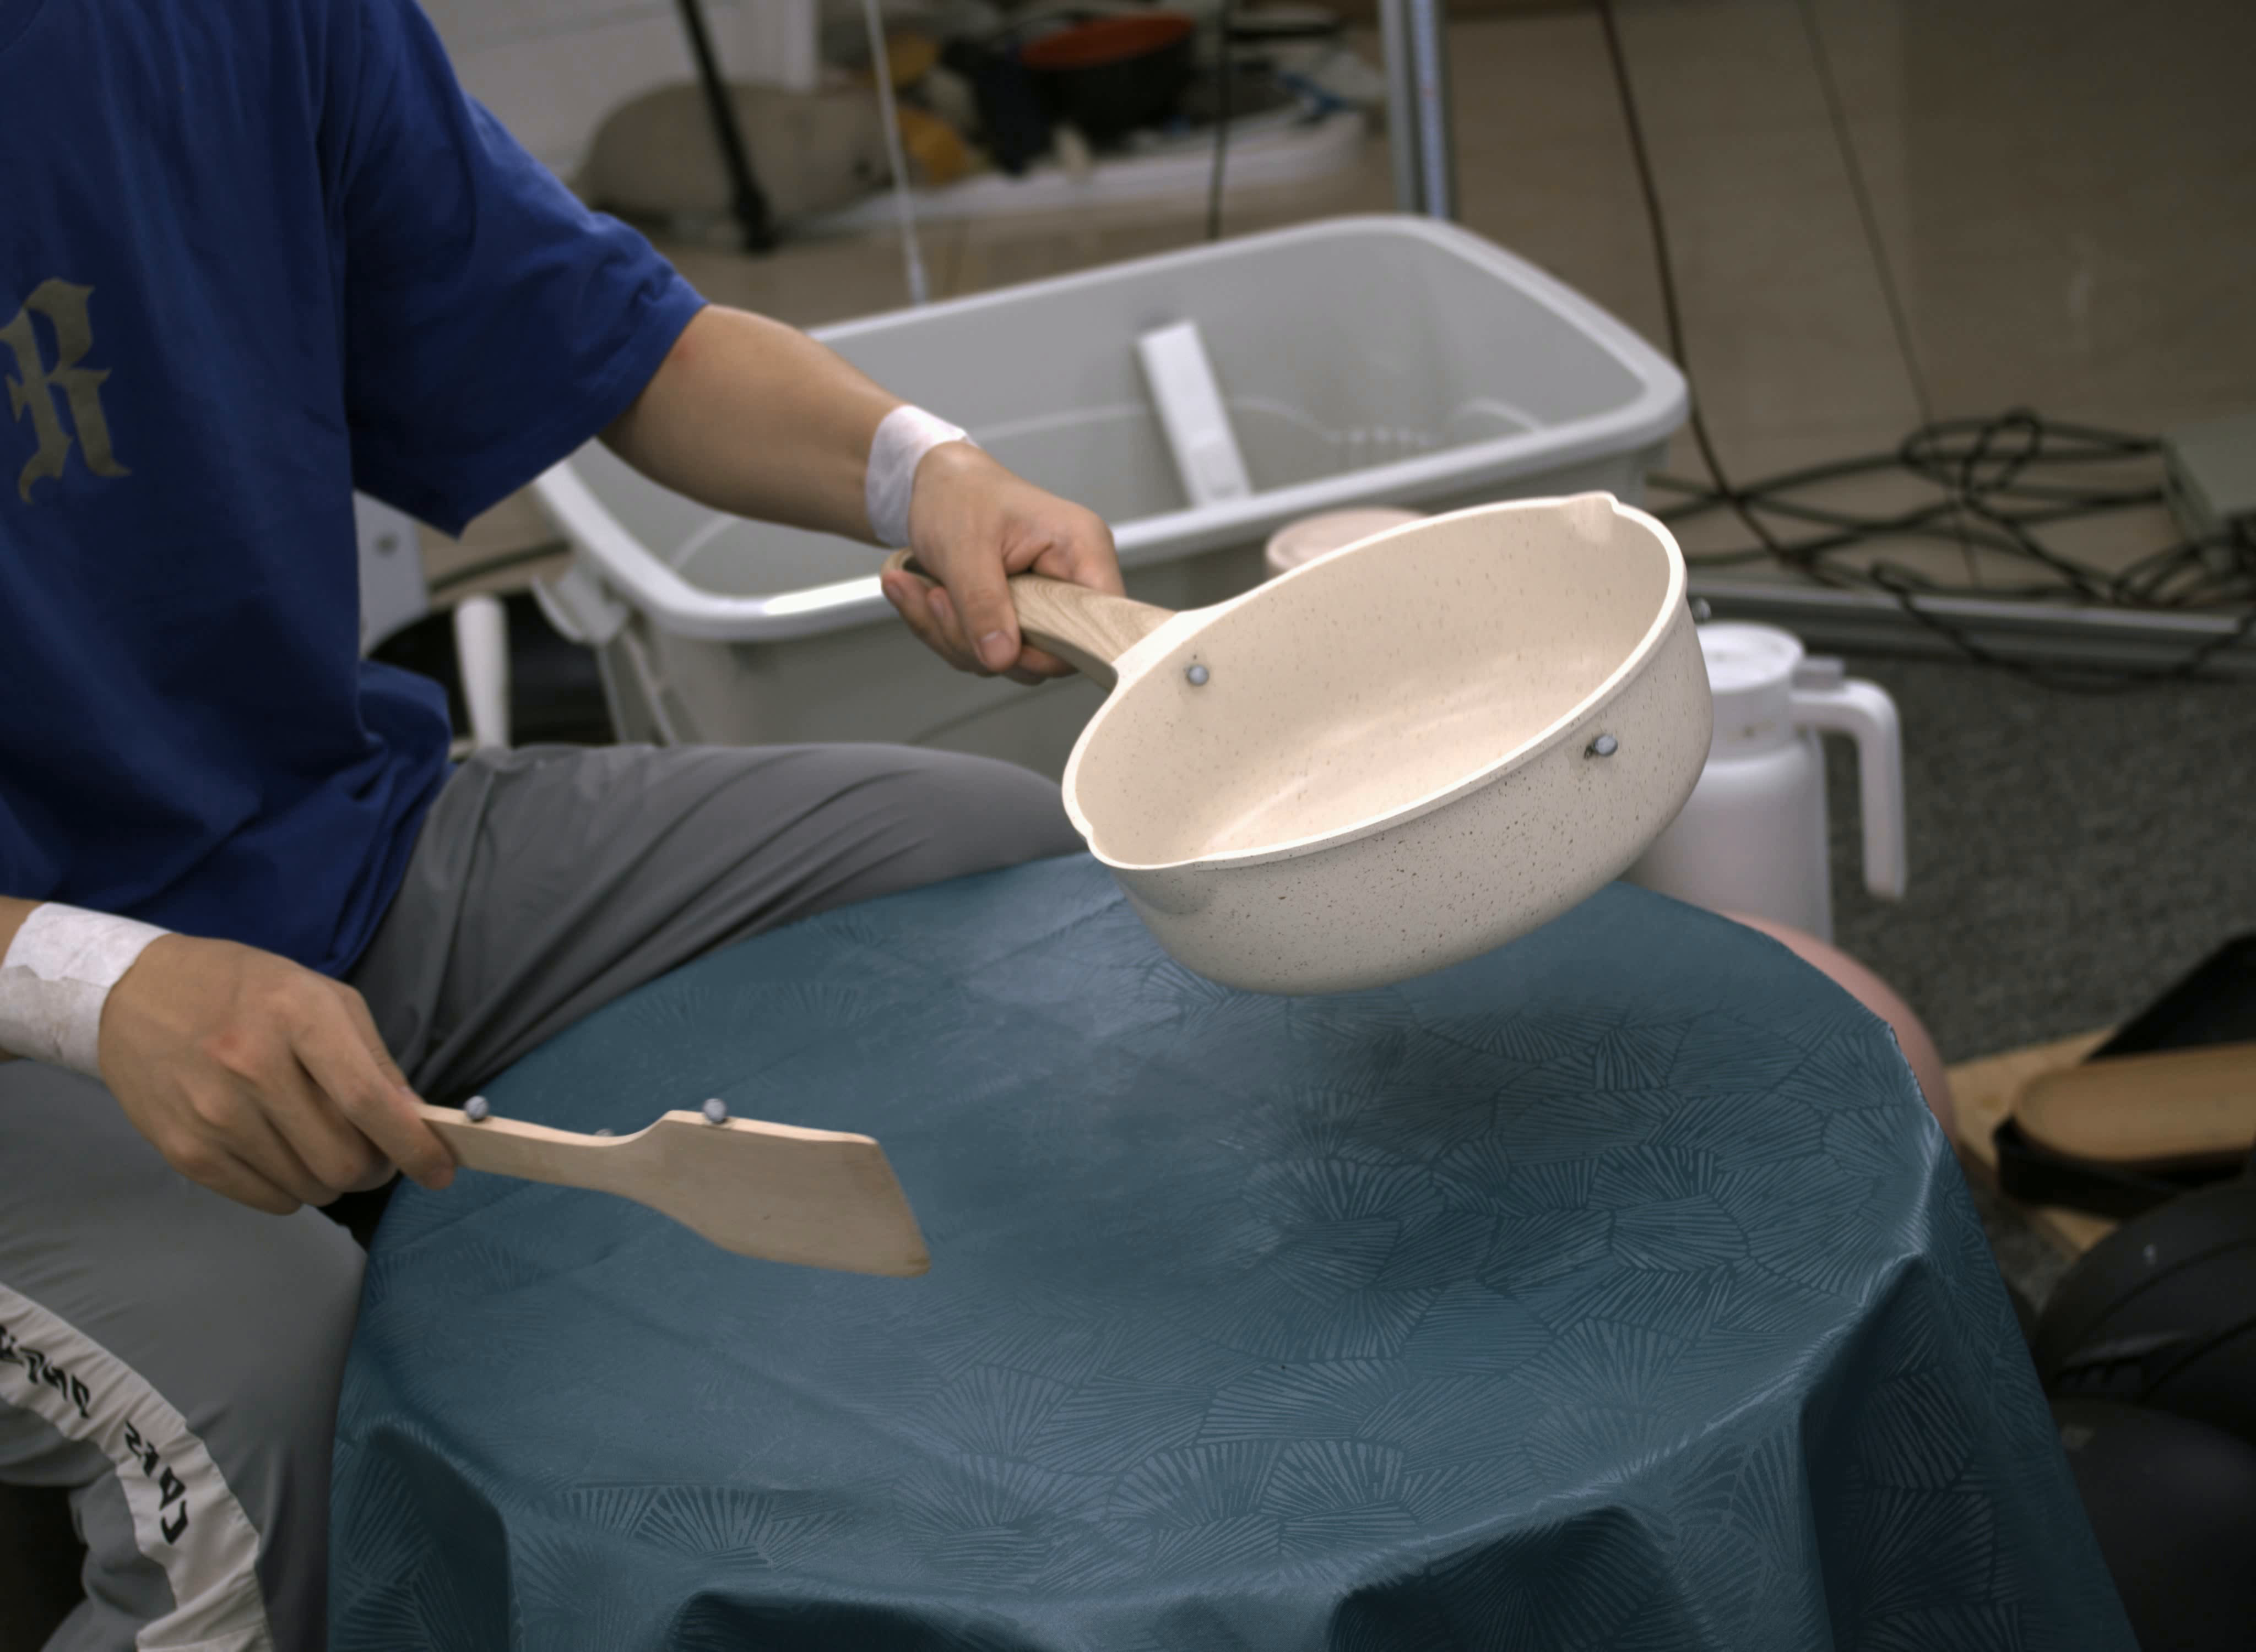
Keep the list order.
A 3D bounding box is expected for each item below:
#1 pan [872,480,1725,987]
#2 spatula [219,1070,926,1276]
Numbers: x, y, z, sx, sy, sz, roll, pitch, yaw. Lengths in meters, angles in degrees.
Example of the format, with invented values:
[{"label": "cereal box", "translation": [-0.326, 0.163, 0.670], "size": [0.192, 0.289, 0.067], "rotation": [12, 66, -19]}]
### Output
[{"label": "pan", "translation": [0.051, -0.044, 2.210], "size": [0.261, 0.103, 0.433], "rotation": [-39, 28, -27]}, {"label": "spatula", "translation": [-0.205, 0.114, 2.002], "size": [0.292, 0.073, 0.010], "rotation": [8, 50, 29]}]
